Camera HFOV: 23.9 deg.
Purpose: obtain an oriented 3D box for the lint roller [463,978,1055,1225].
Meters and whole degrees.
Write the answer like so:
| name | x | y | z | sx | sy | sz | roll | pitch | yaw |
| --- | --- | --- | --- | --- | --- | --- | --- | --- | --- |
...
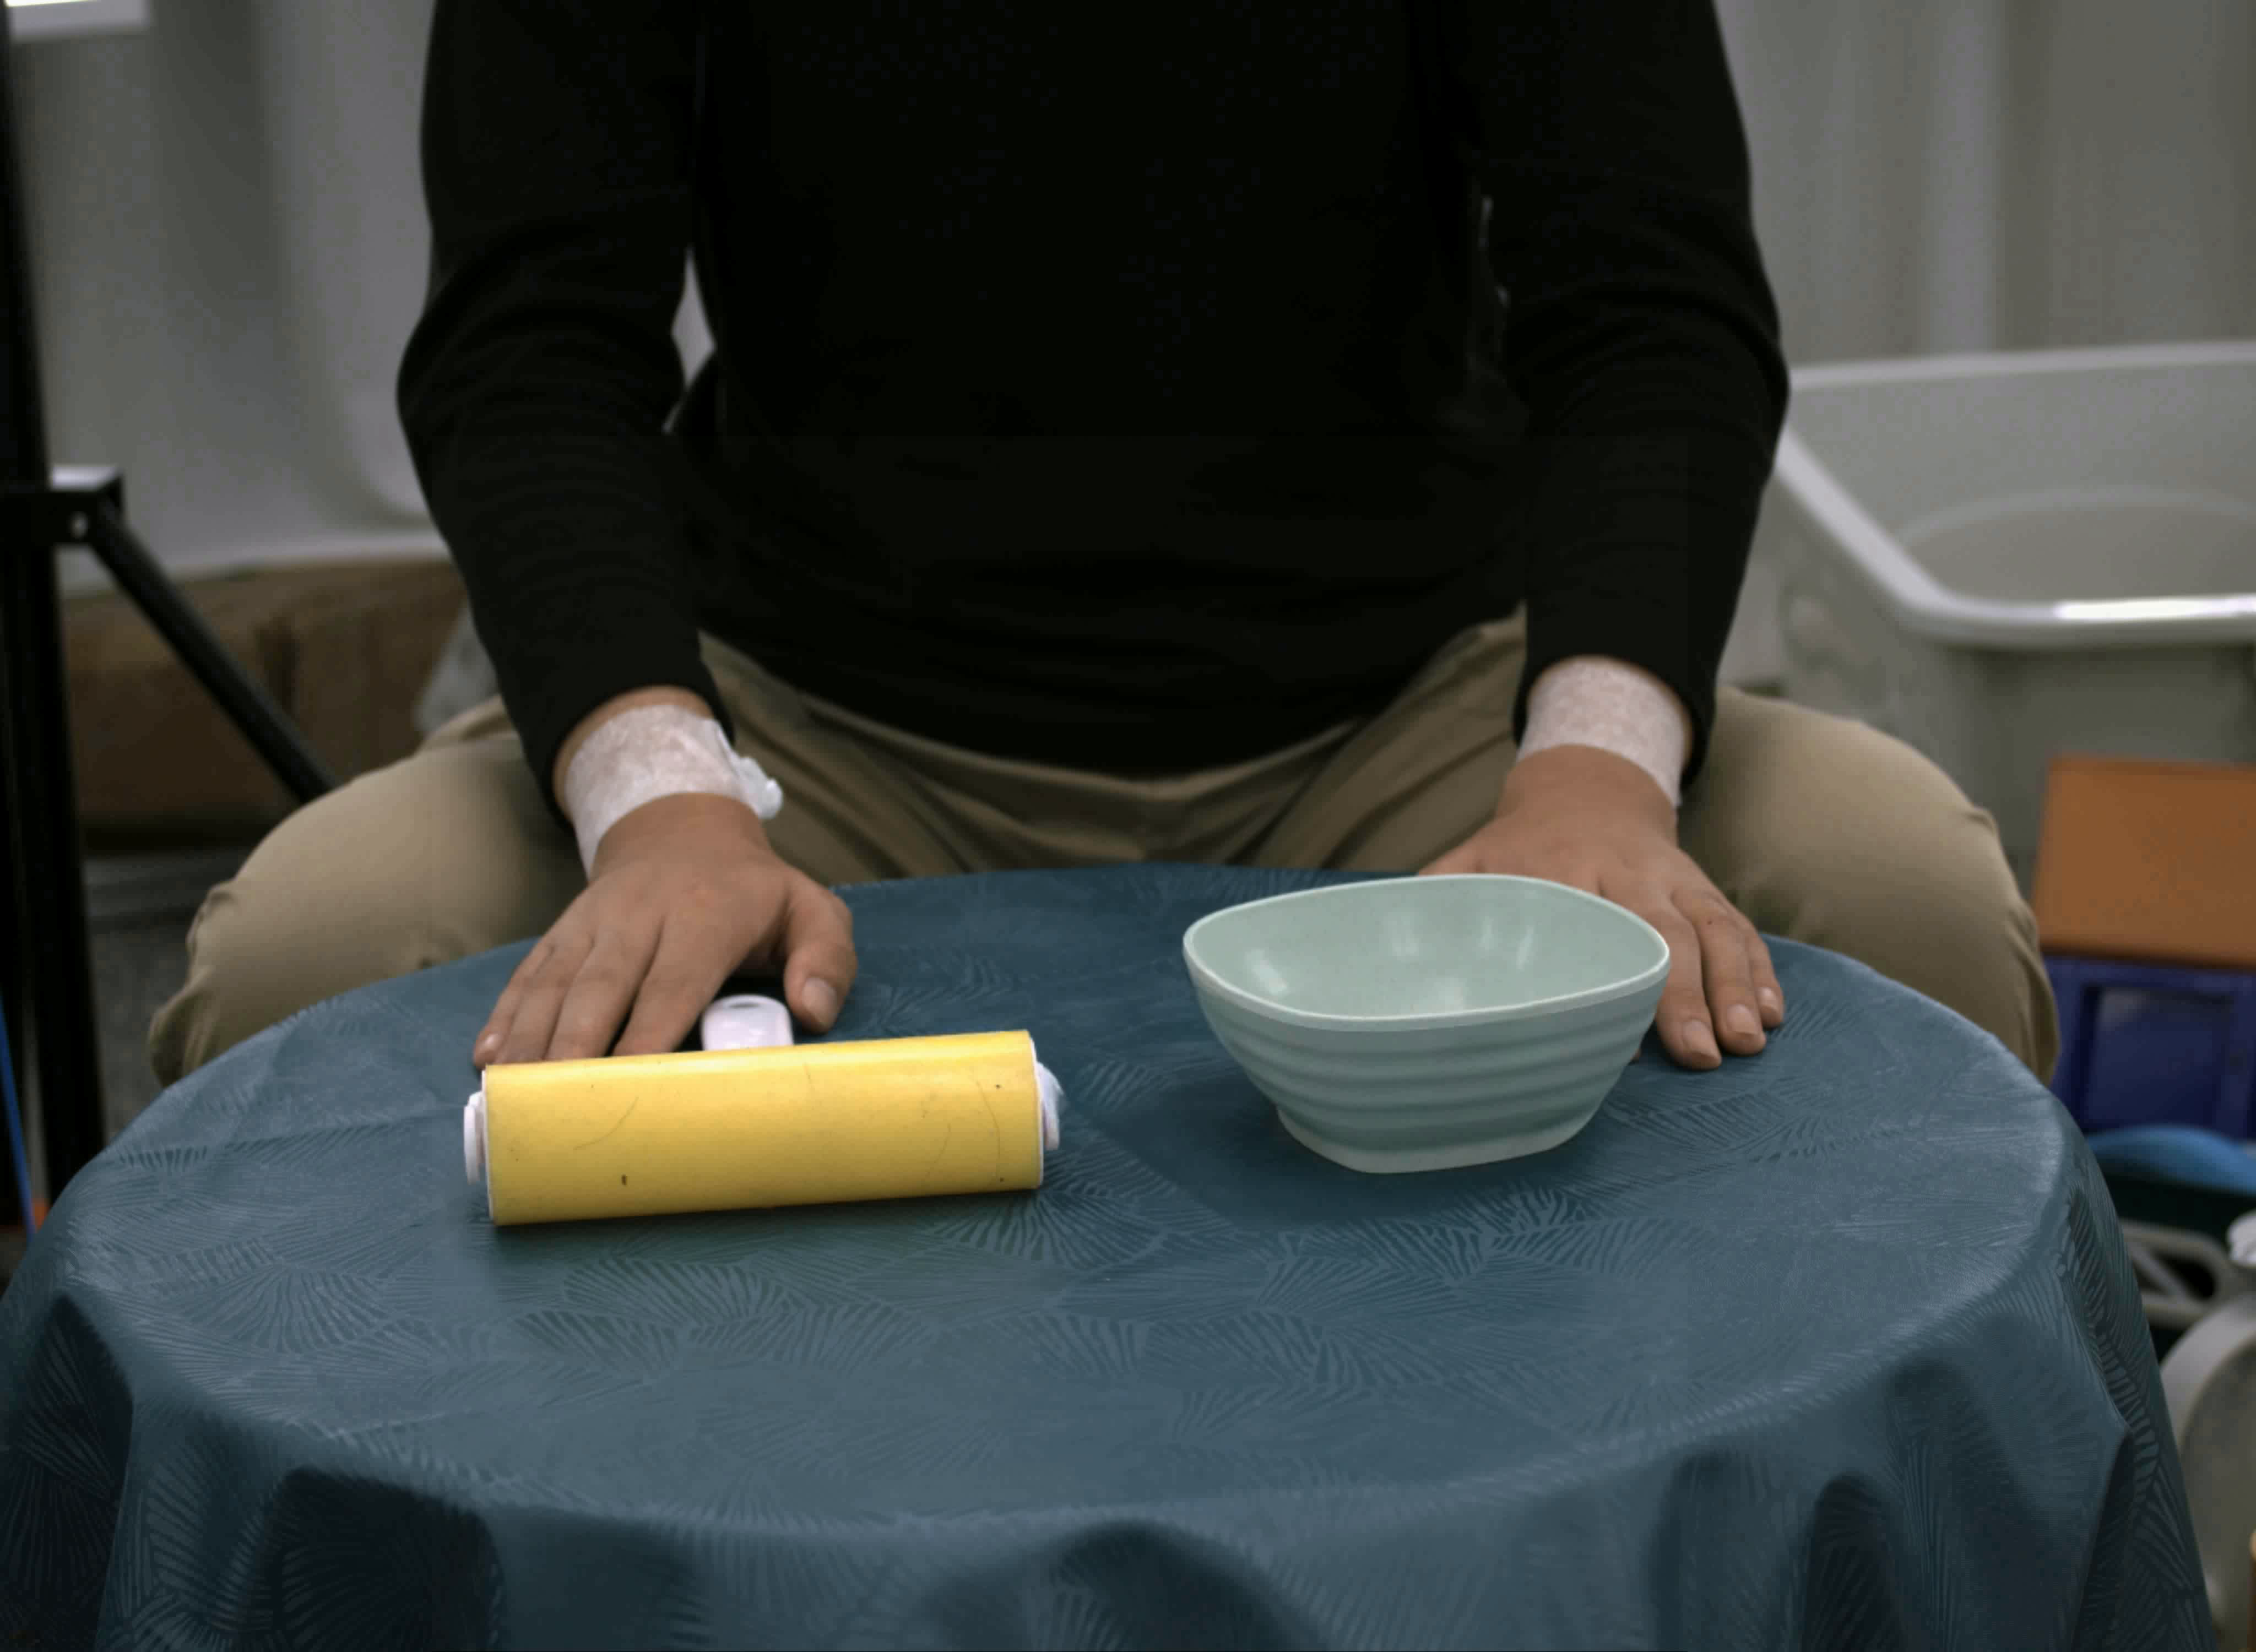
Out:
| name | x | y | z | sx | sy | sz | roll | pitch | yaw |
| --- | --- | --- | --- | --- | --- | --- | --- | --- | --- |
| lint roller | -0.118 | 0.067 | 1.626 | 0.172 | 0.051 | 0.194 | -4 | 20 | -6 |

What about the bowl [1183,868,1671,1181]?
| name | x | y | z | sx | sy | sz | roll | pitch | yaw |
| --- | --- | --- | --- | --- | --- | --- | --- | --- | --- |
| bowl | 0.090 | 0.063 | 1.597 | 0.151 | 0.058 | 0.152 | -3 | 17 | -1 |
